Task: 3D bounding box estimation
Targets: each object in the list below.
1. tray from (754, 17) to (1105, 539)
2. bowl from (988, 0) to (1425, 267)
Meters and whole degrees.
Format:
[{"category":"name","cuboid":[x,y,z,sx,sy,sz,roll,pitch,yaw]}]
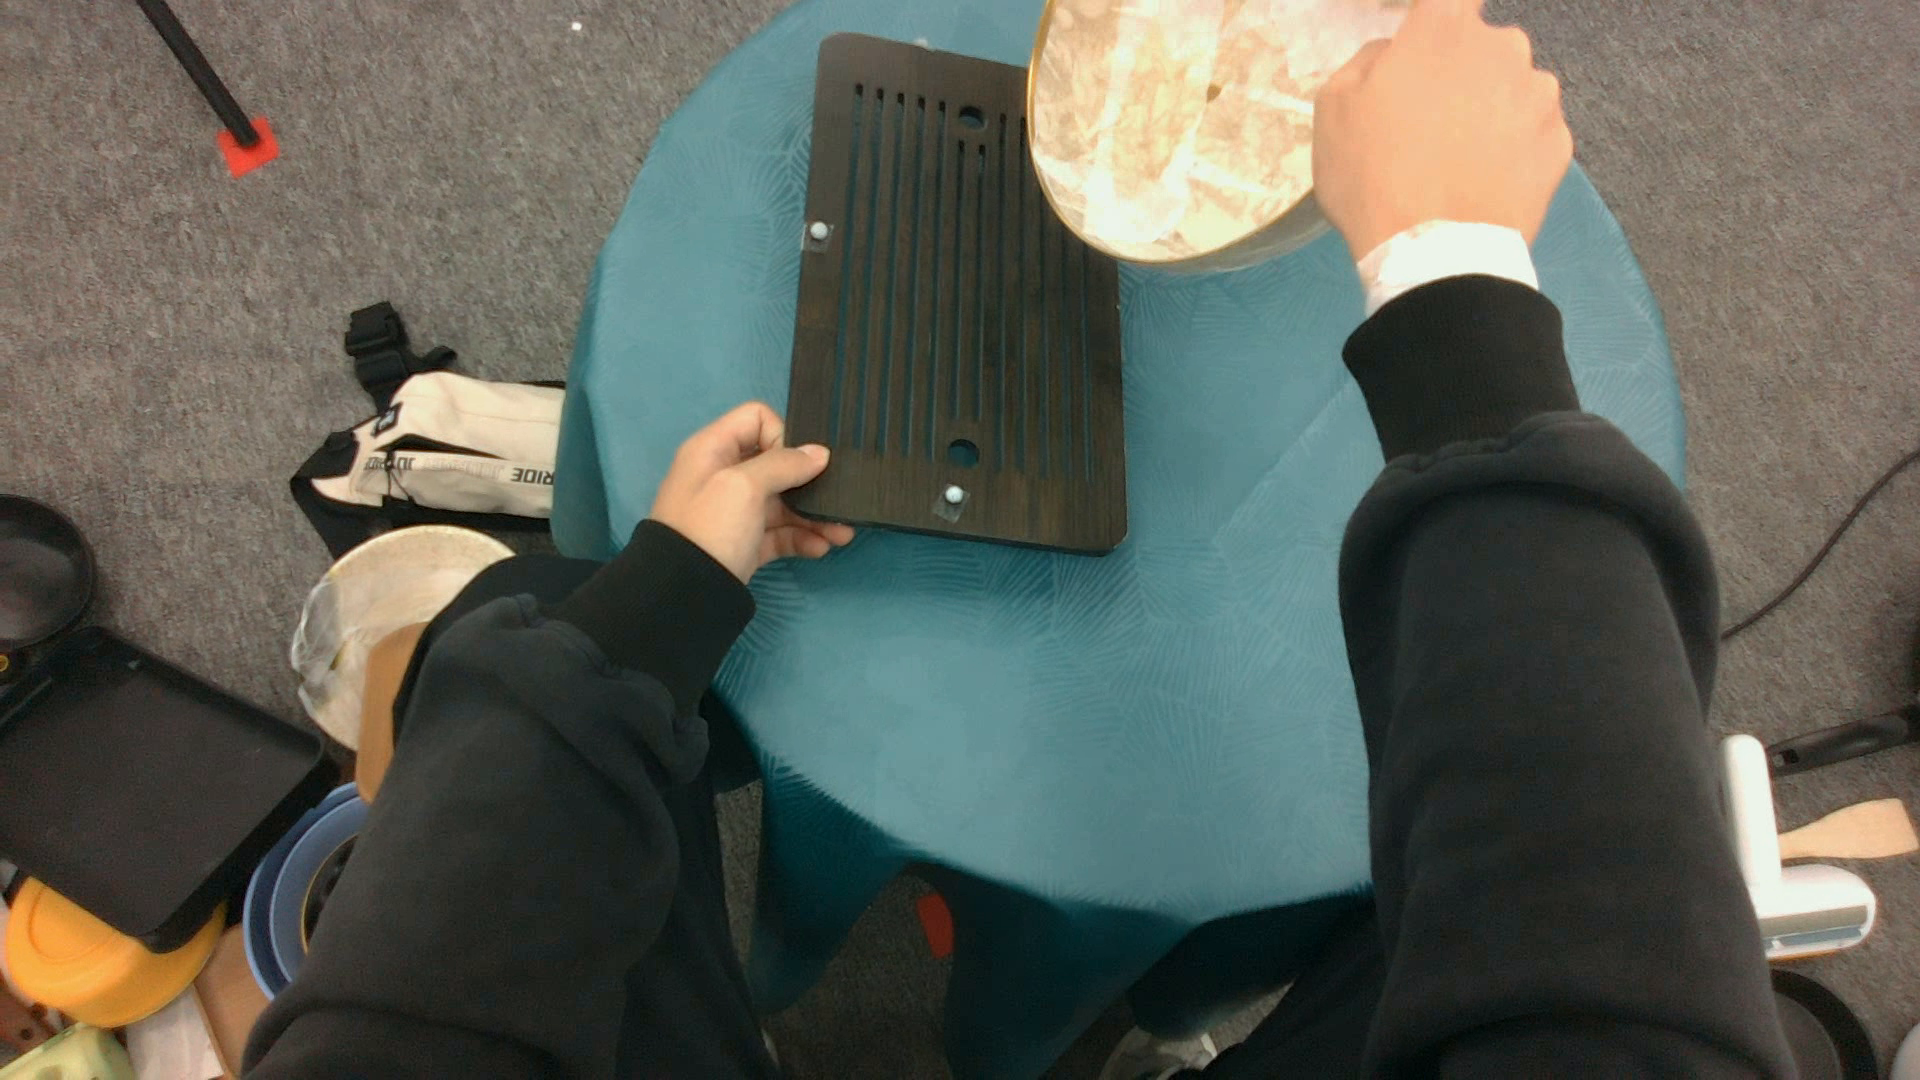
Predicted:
[{"category":"tray","cuboid":[-0.012,-0.144,0.718,0.170,0.018,0.307,7,62,-12]},{"category":"bowl","cuboid":[0.123,-0.215,0.634,0.214,0.095,0.215,-8,76,38]}]
